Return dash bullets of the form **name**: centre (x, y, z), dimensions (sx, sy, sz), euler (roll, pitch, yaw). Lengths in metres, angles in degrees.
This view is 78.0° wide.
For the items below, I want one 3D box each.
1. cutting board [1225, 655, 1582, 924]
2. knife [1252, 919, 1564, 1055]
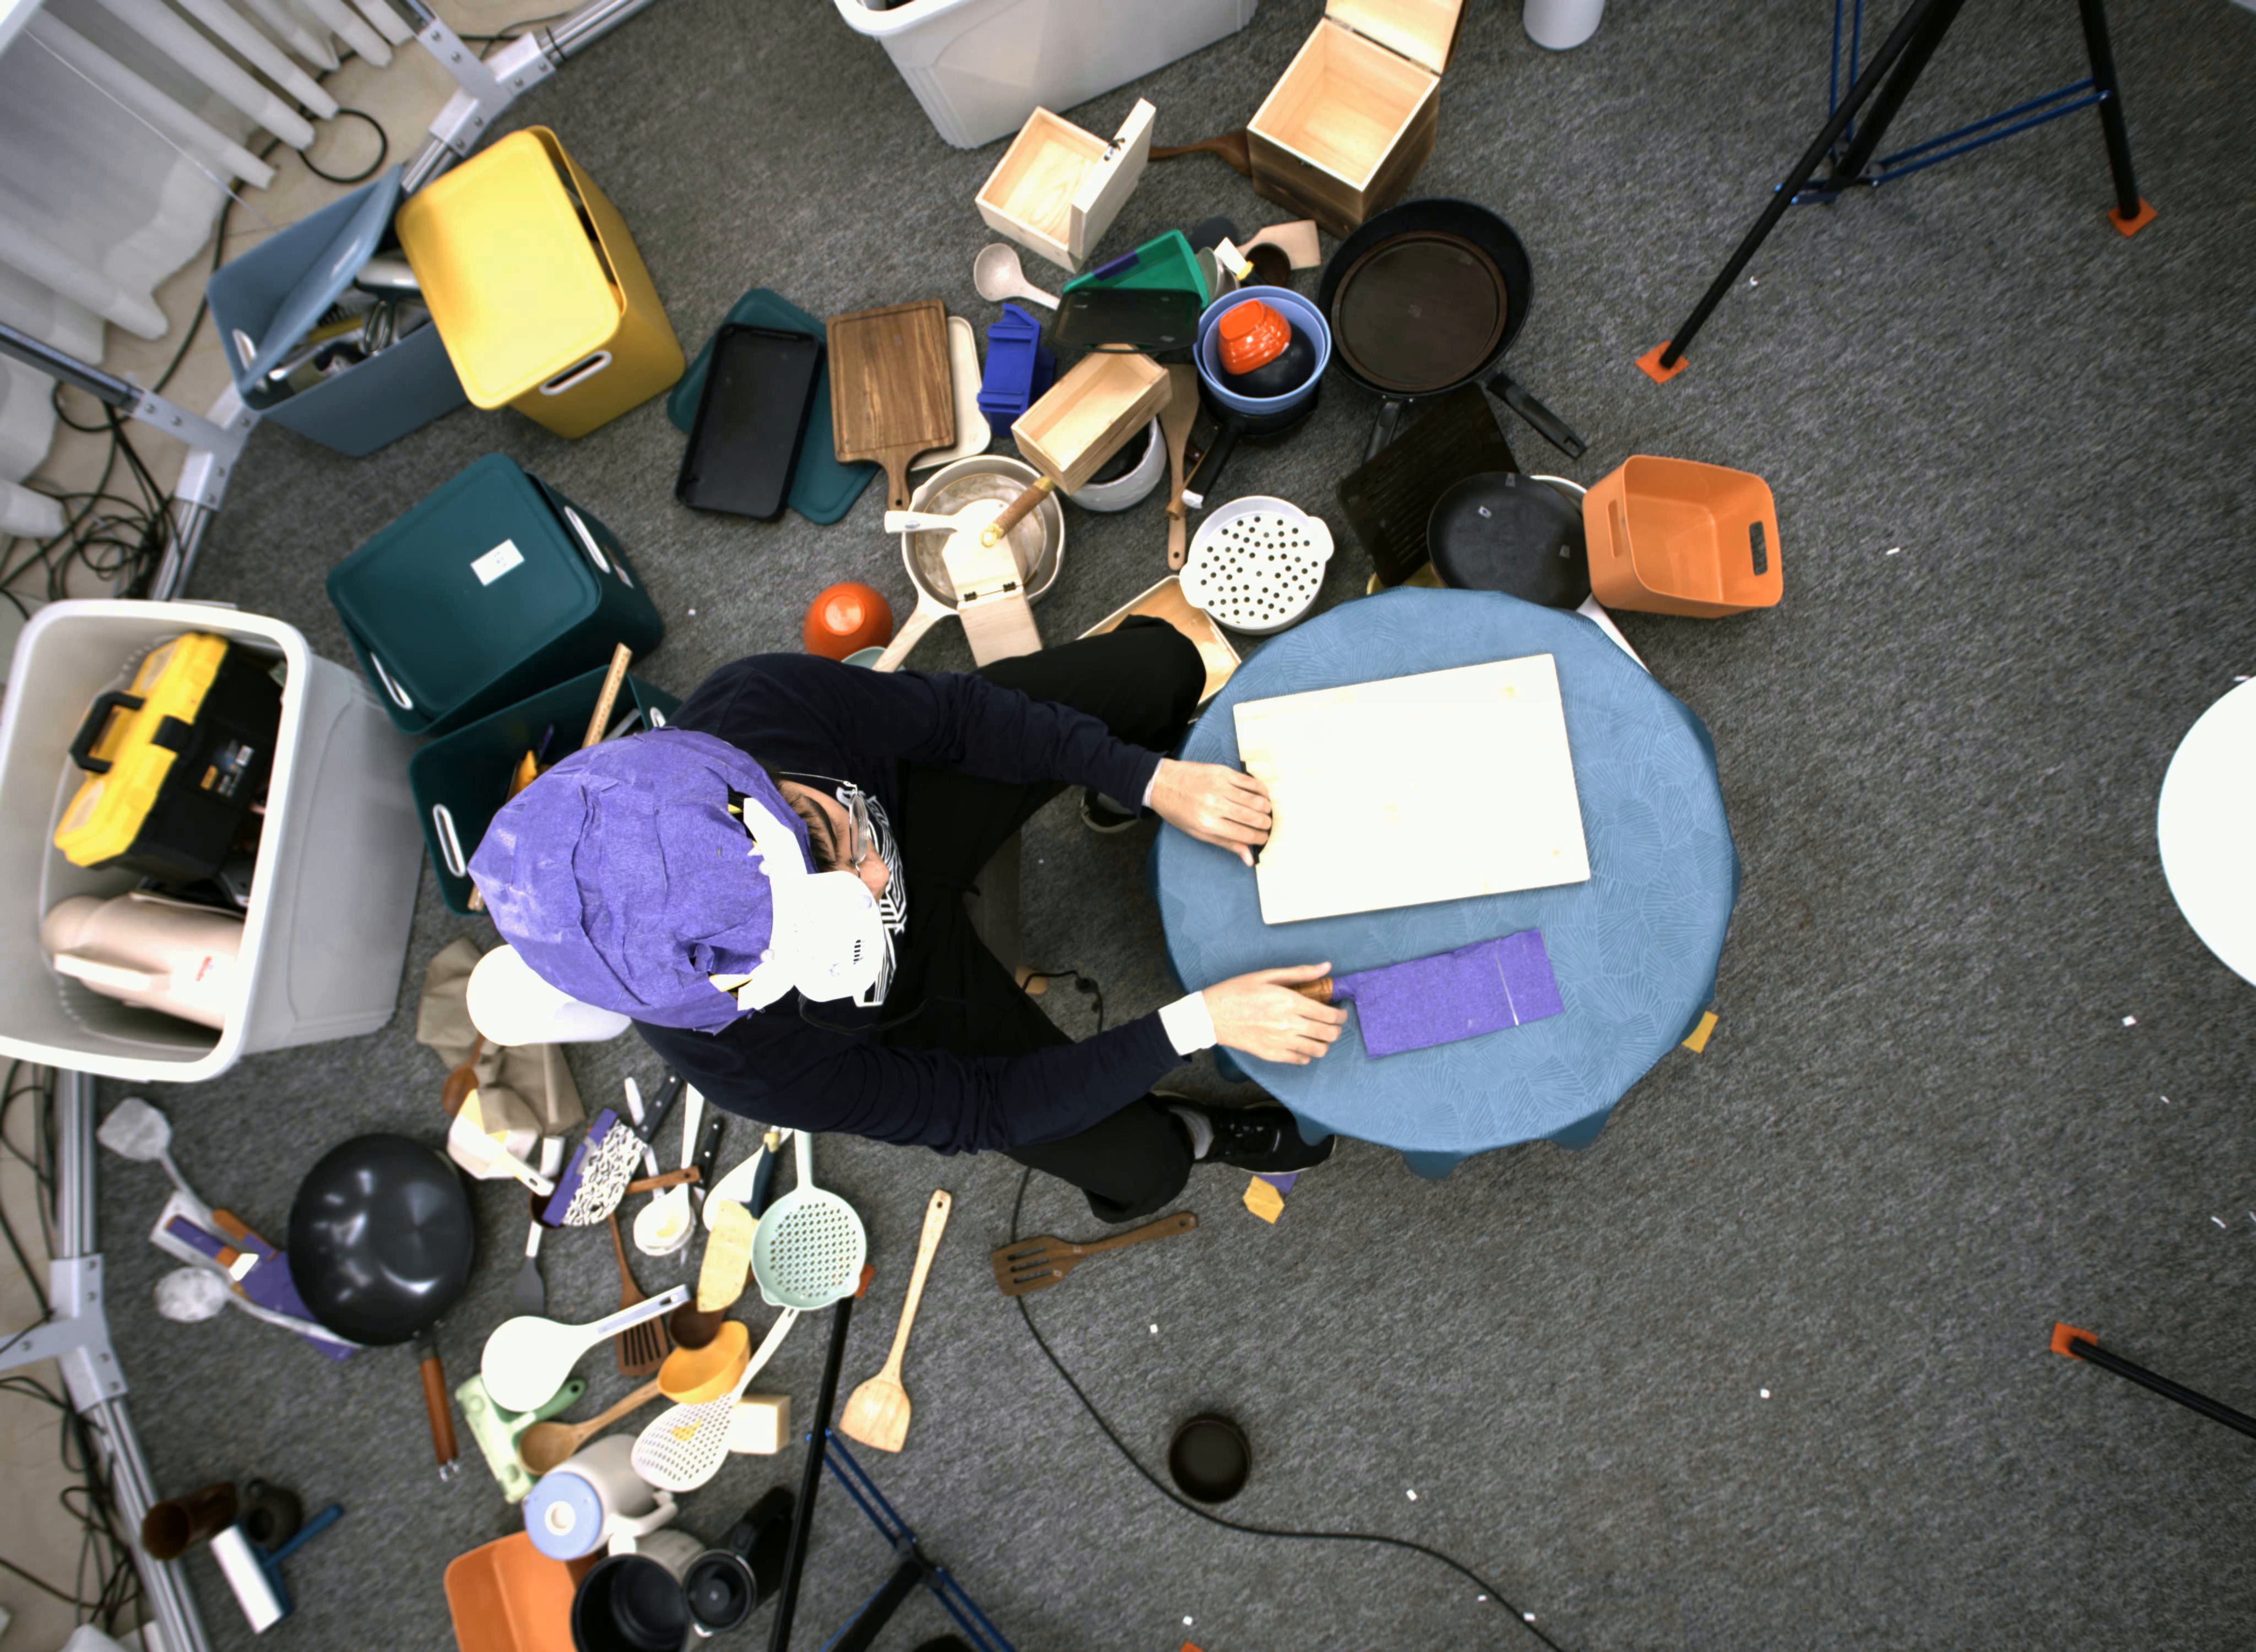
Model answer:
- **cutting board**: centre (0.289, -0.039, 1.454), dimensions (0.350, 0.023, 0.249), euler (-9, 85, 10)
- **knife**: centre (0.290, 0.183, 1.436), dimensions (0.317, 0.032, 0.103), euler (-16, 84, 9)
